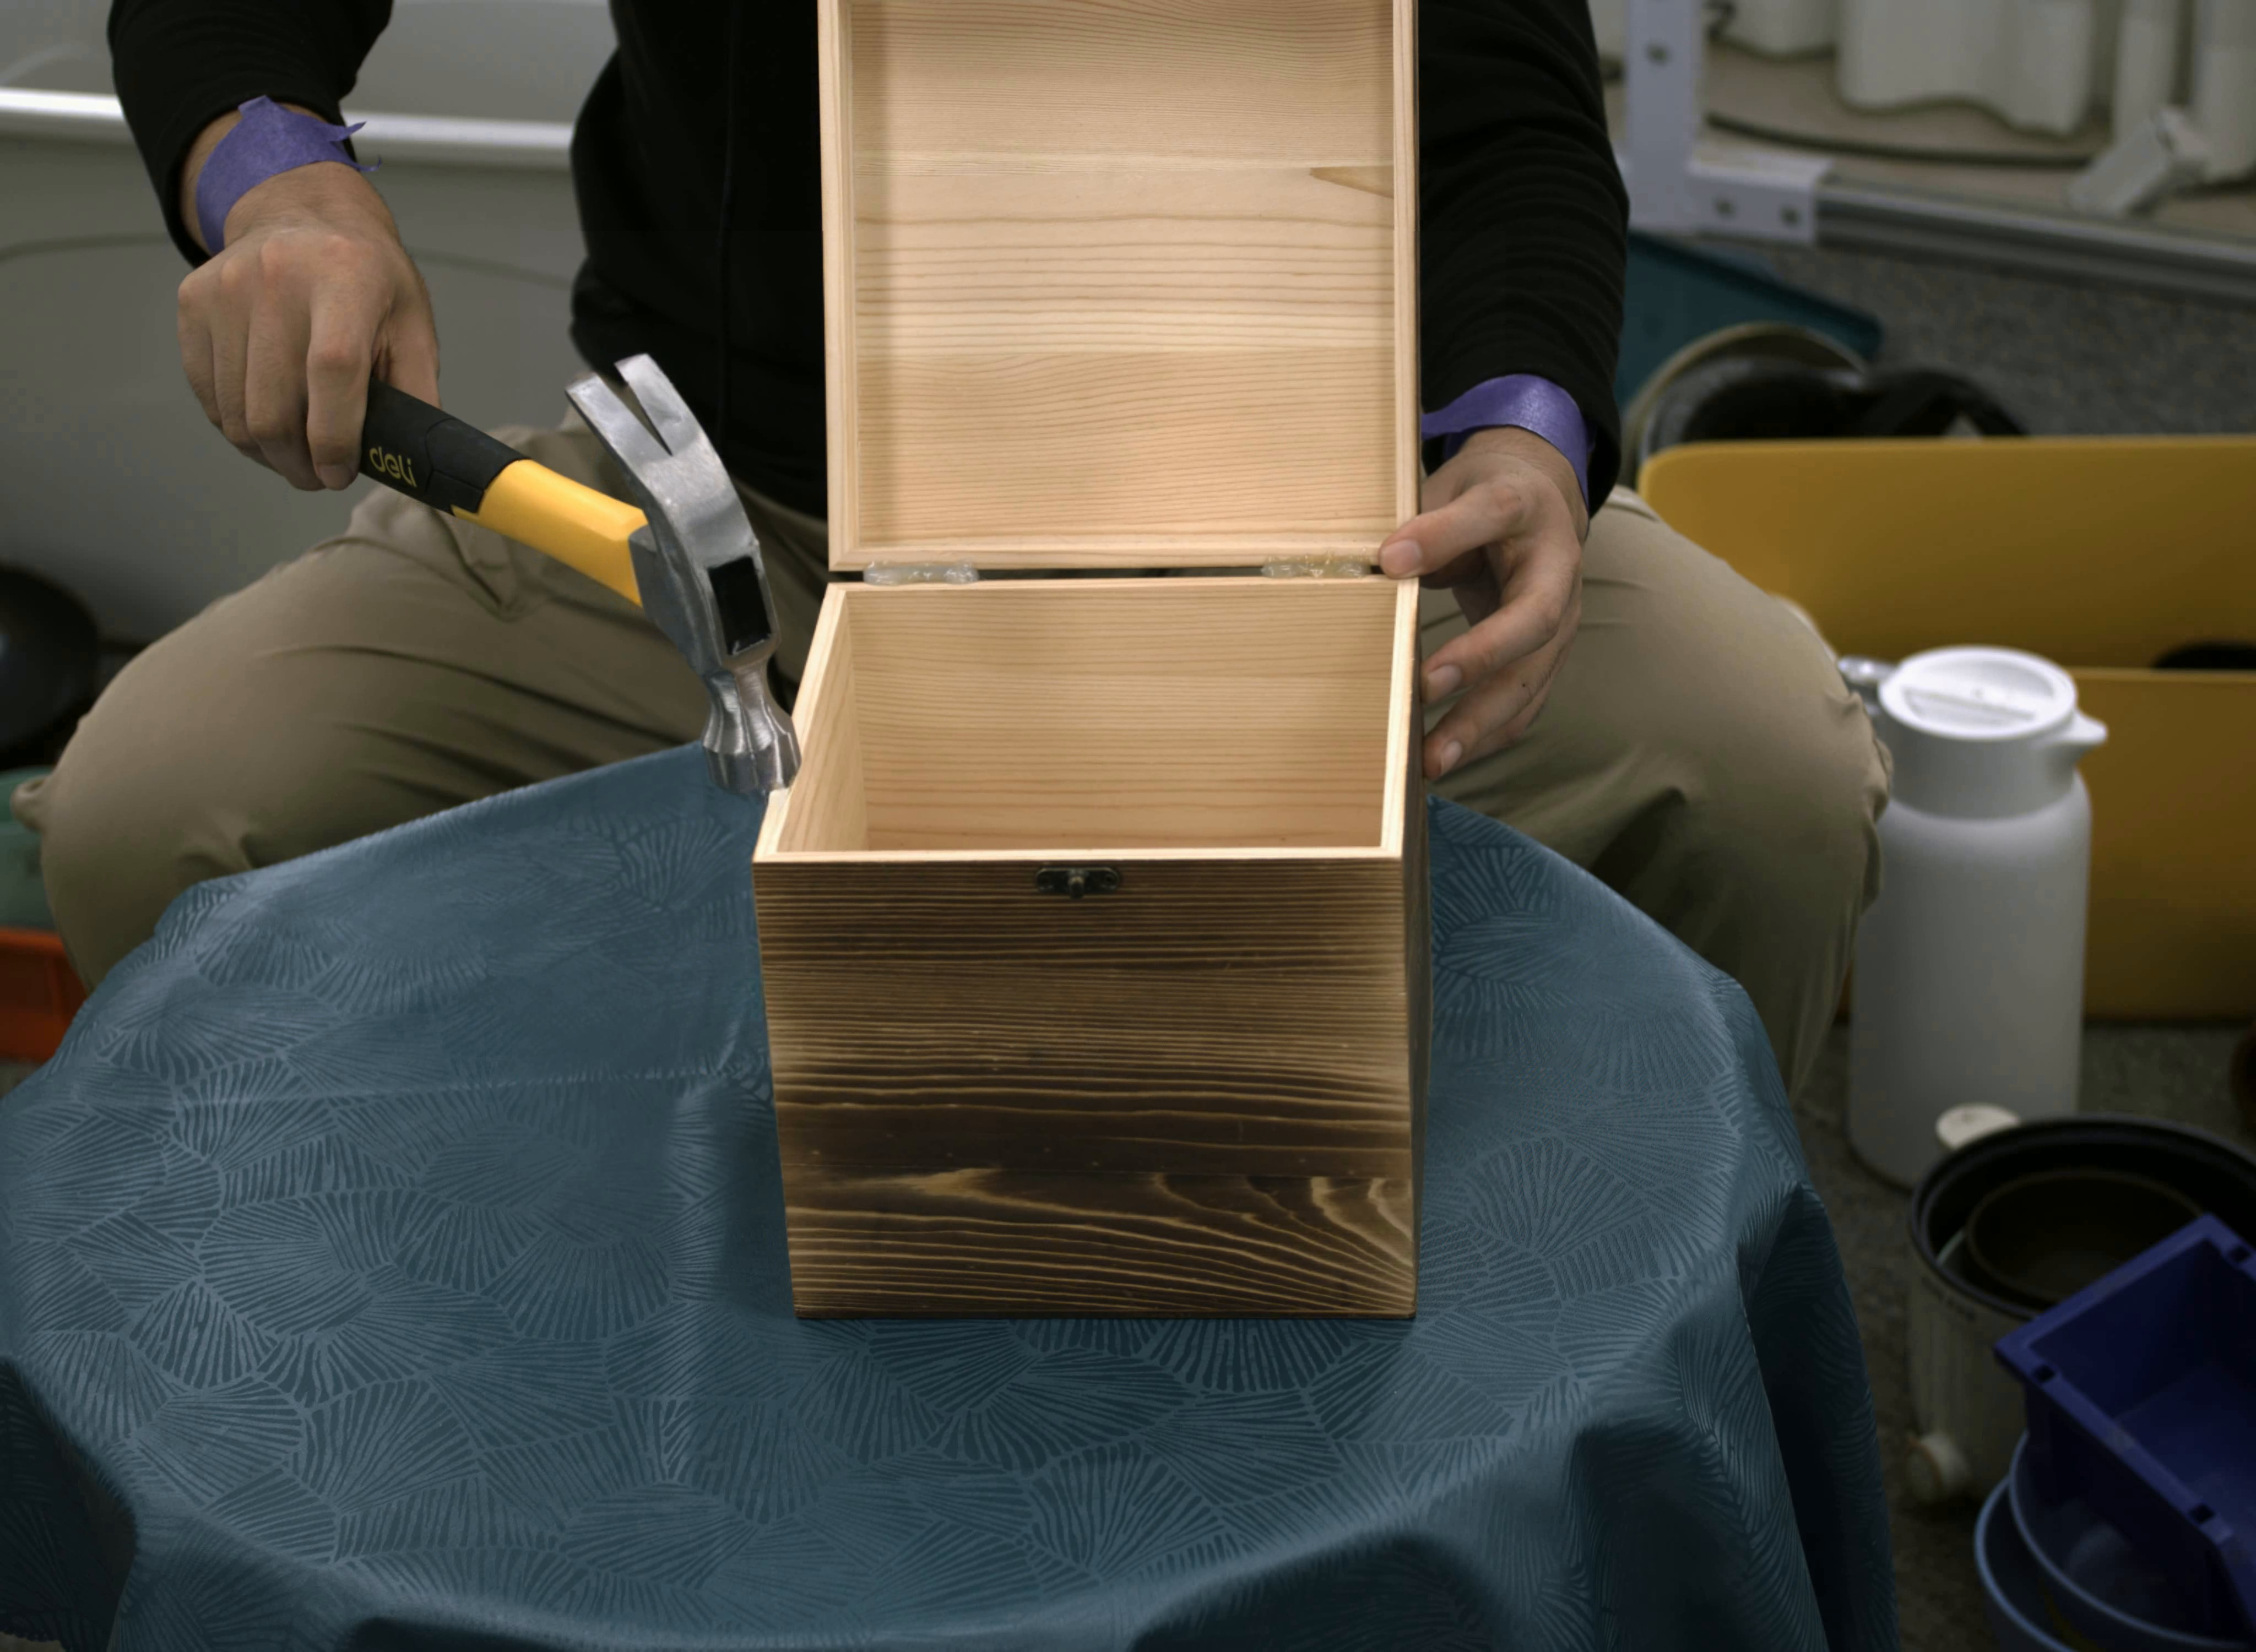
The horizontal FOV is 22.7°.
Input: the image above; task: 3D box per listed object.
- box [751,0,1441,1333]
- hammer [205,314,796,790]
[{"bbox_3d":[-0.007,-0.073,1.847,0.207,0.371,0.327,-1,26,5],"label":"box"},{"bbox_3d":[-0.217,-0.117,1.871,0.032,0.130,0.338,-24,29,-28],"label":"hammer"}]
